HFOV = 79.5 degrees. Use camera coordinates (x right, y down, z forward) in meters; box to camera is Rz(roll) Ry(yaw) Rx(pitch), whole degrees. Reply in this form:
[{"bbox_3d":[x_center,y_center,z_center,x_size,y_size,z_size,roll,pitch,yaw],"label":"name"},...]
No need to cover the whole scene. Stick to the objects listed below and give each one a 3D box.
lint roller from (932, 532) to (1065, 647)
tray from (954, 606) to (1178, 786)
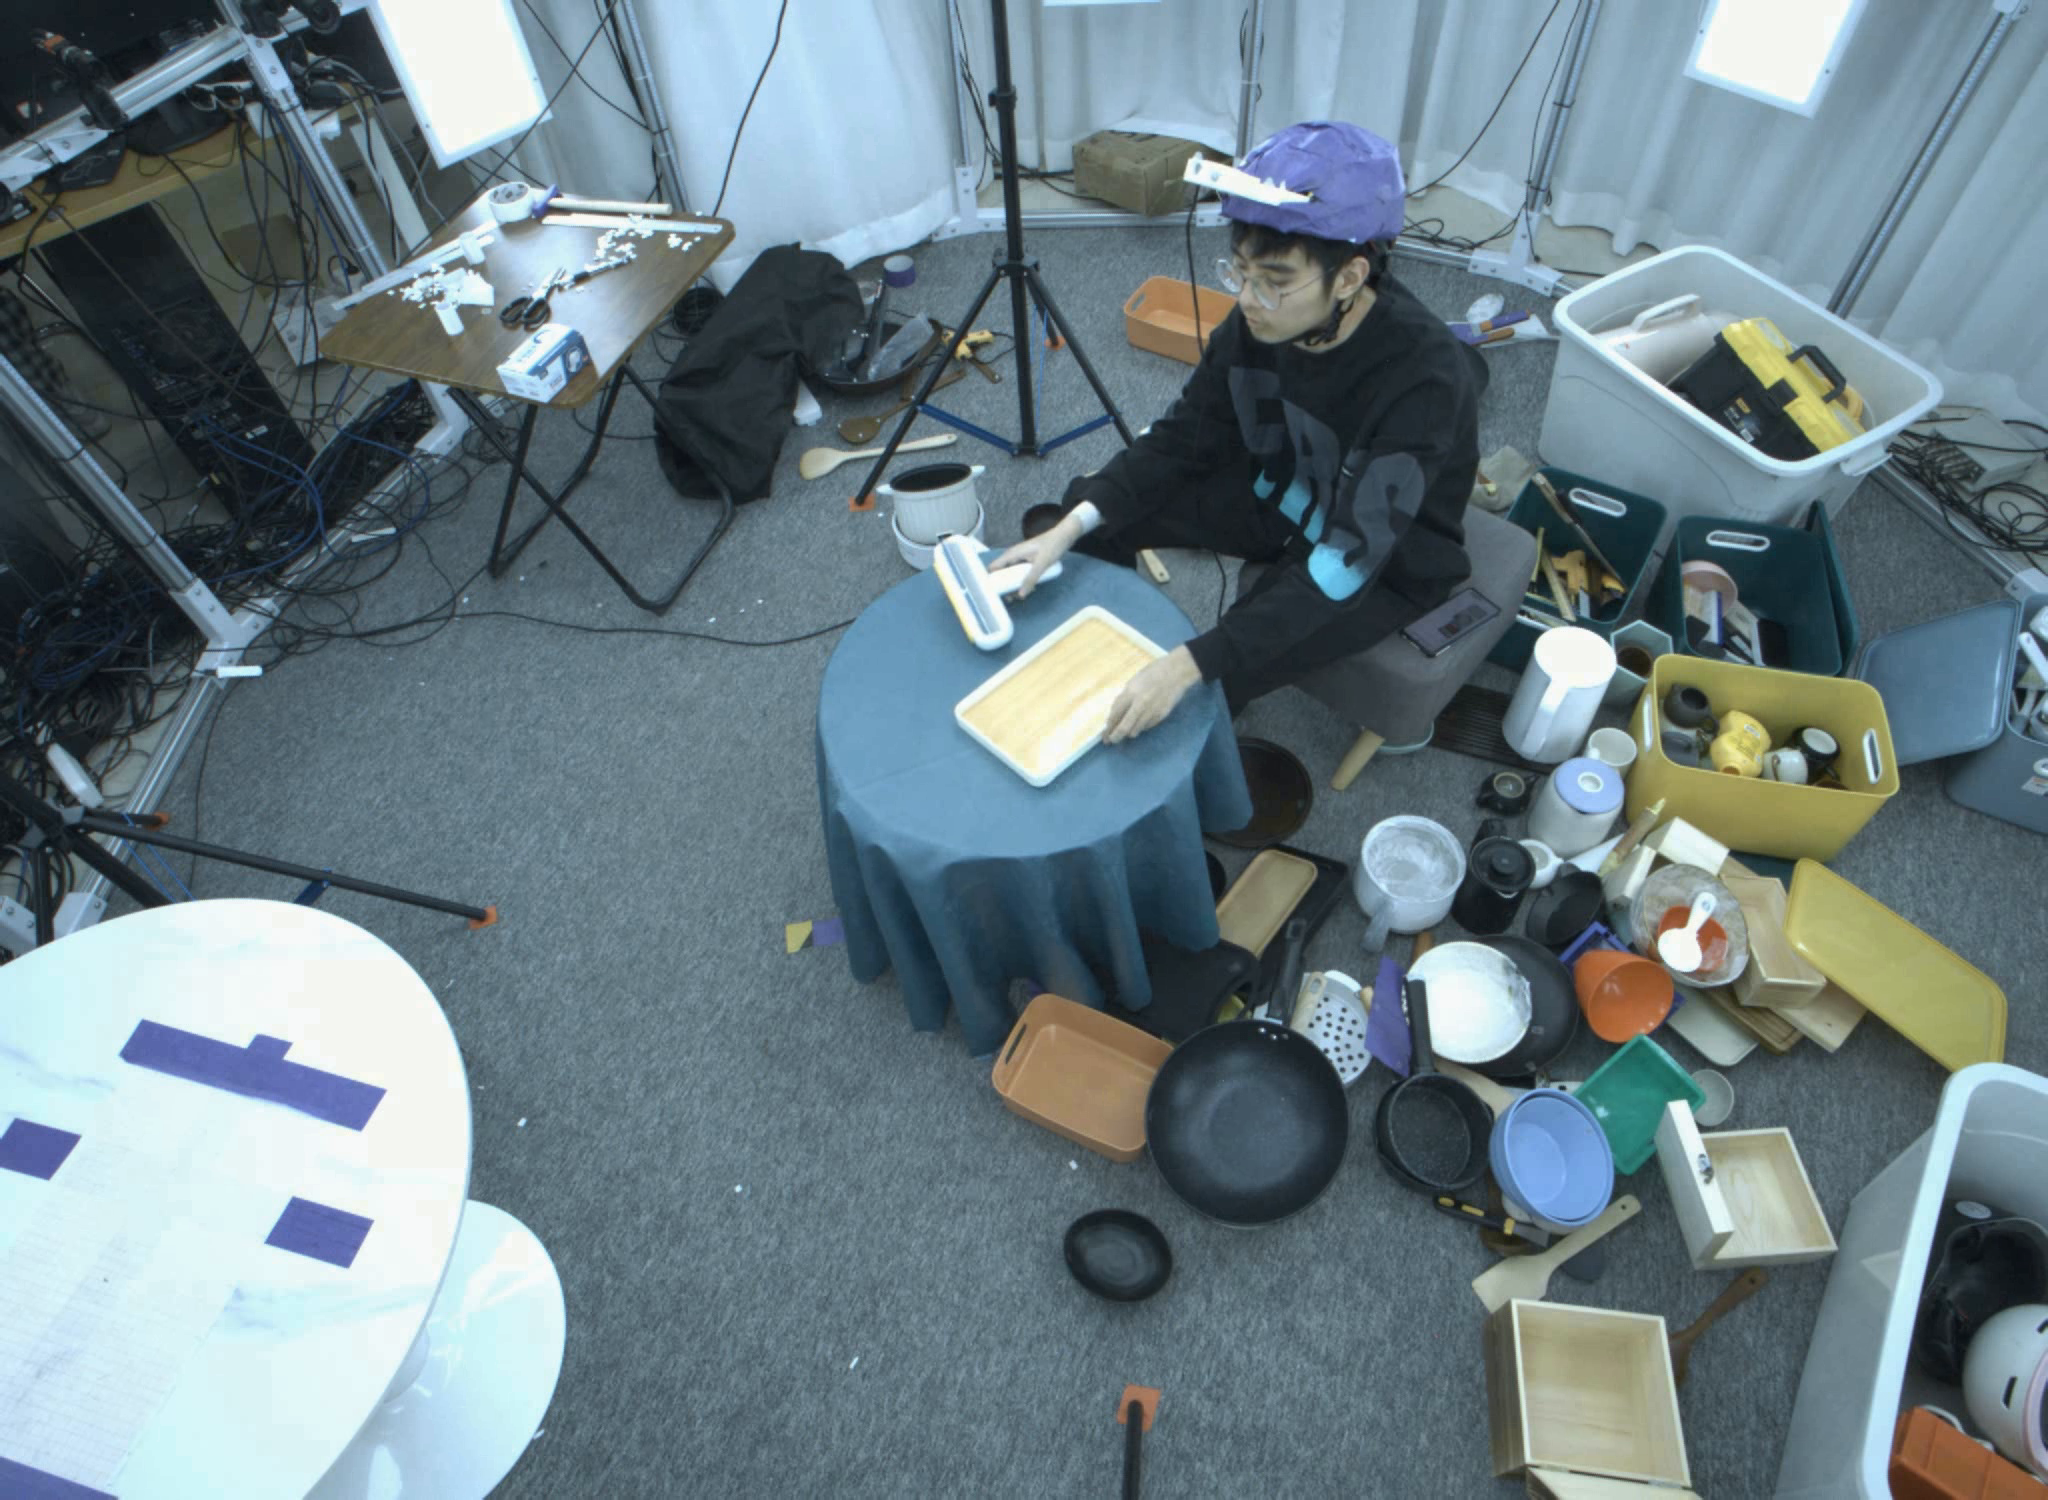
[{"bbox_3d":[-0.027,-0.266,1.910,0.193,0.074,0.190,-22,71,-8],"label":"lint roller"},{"bbox_3d":[0.064,-0.086,1.823,0.302,0.028,0.188,-38,60,-22],"label":"tray"}]
